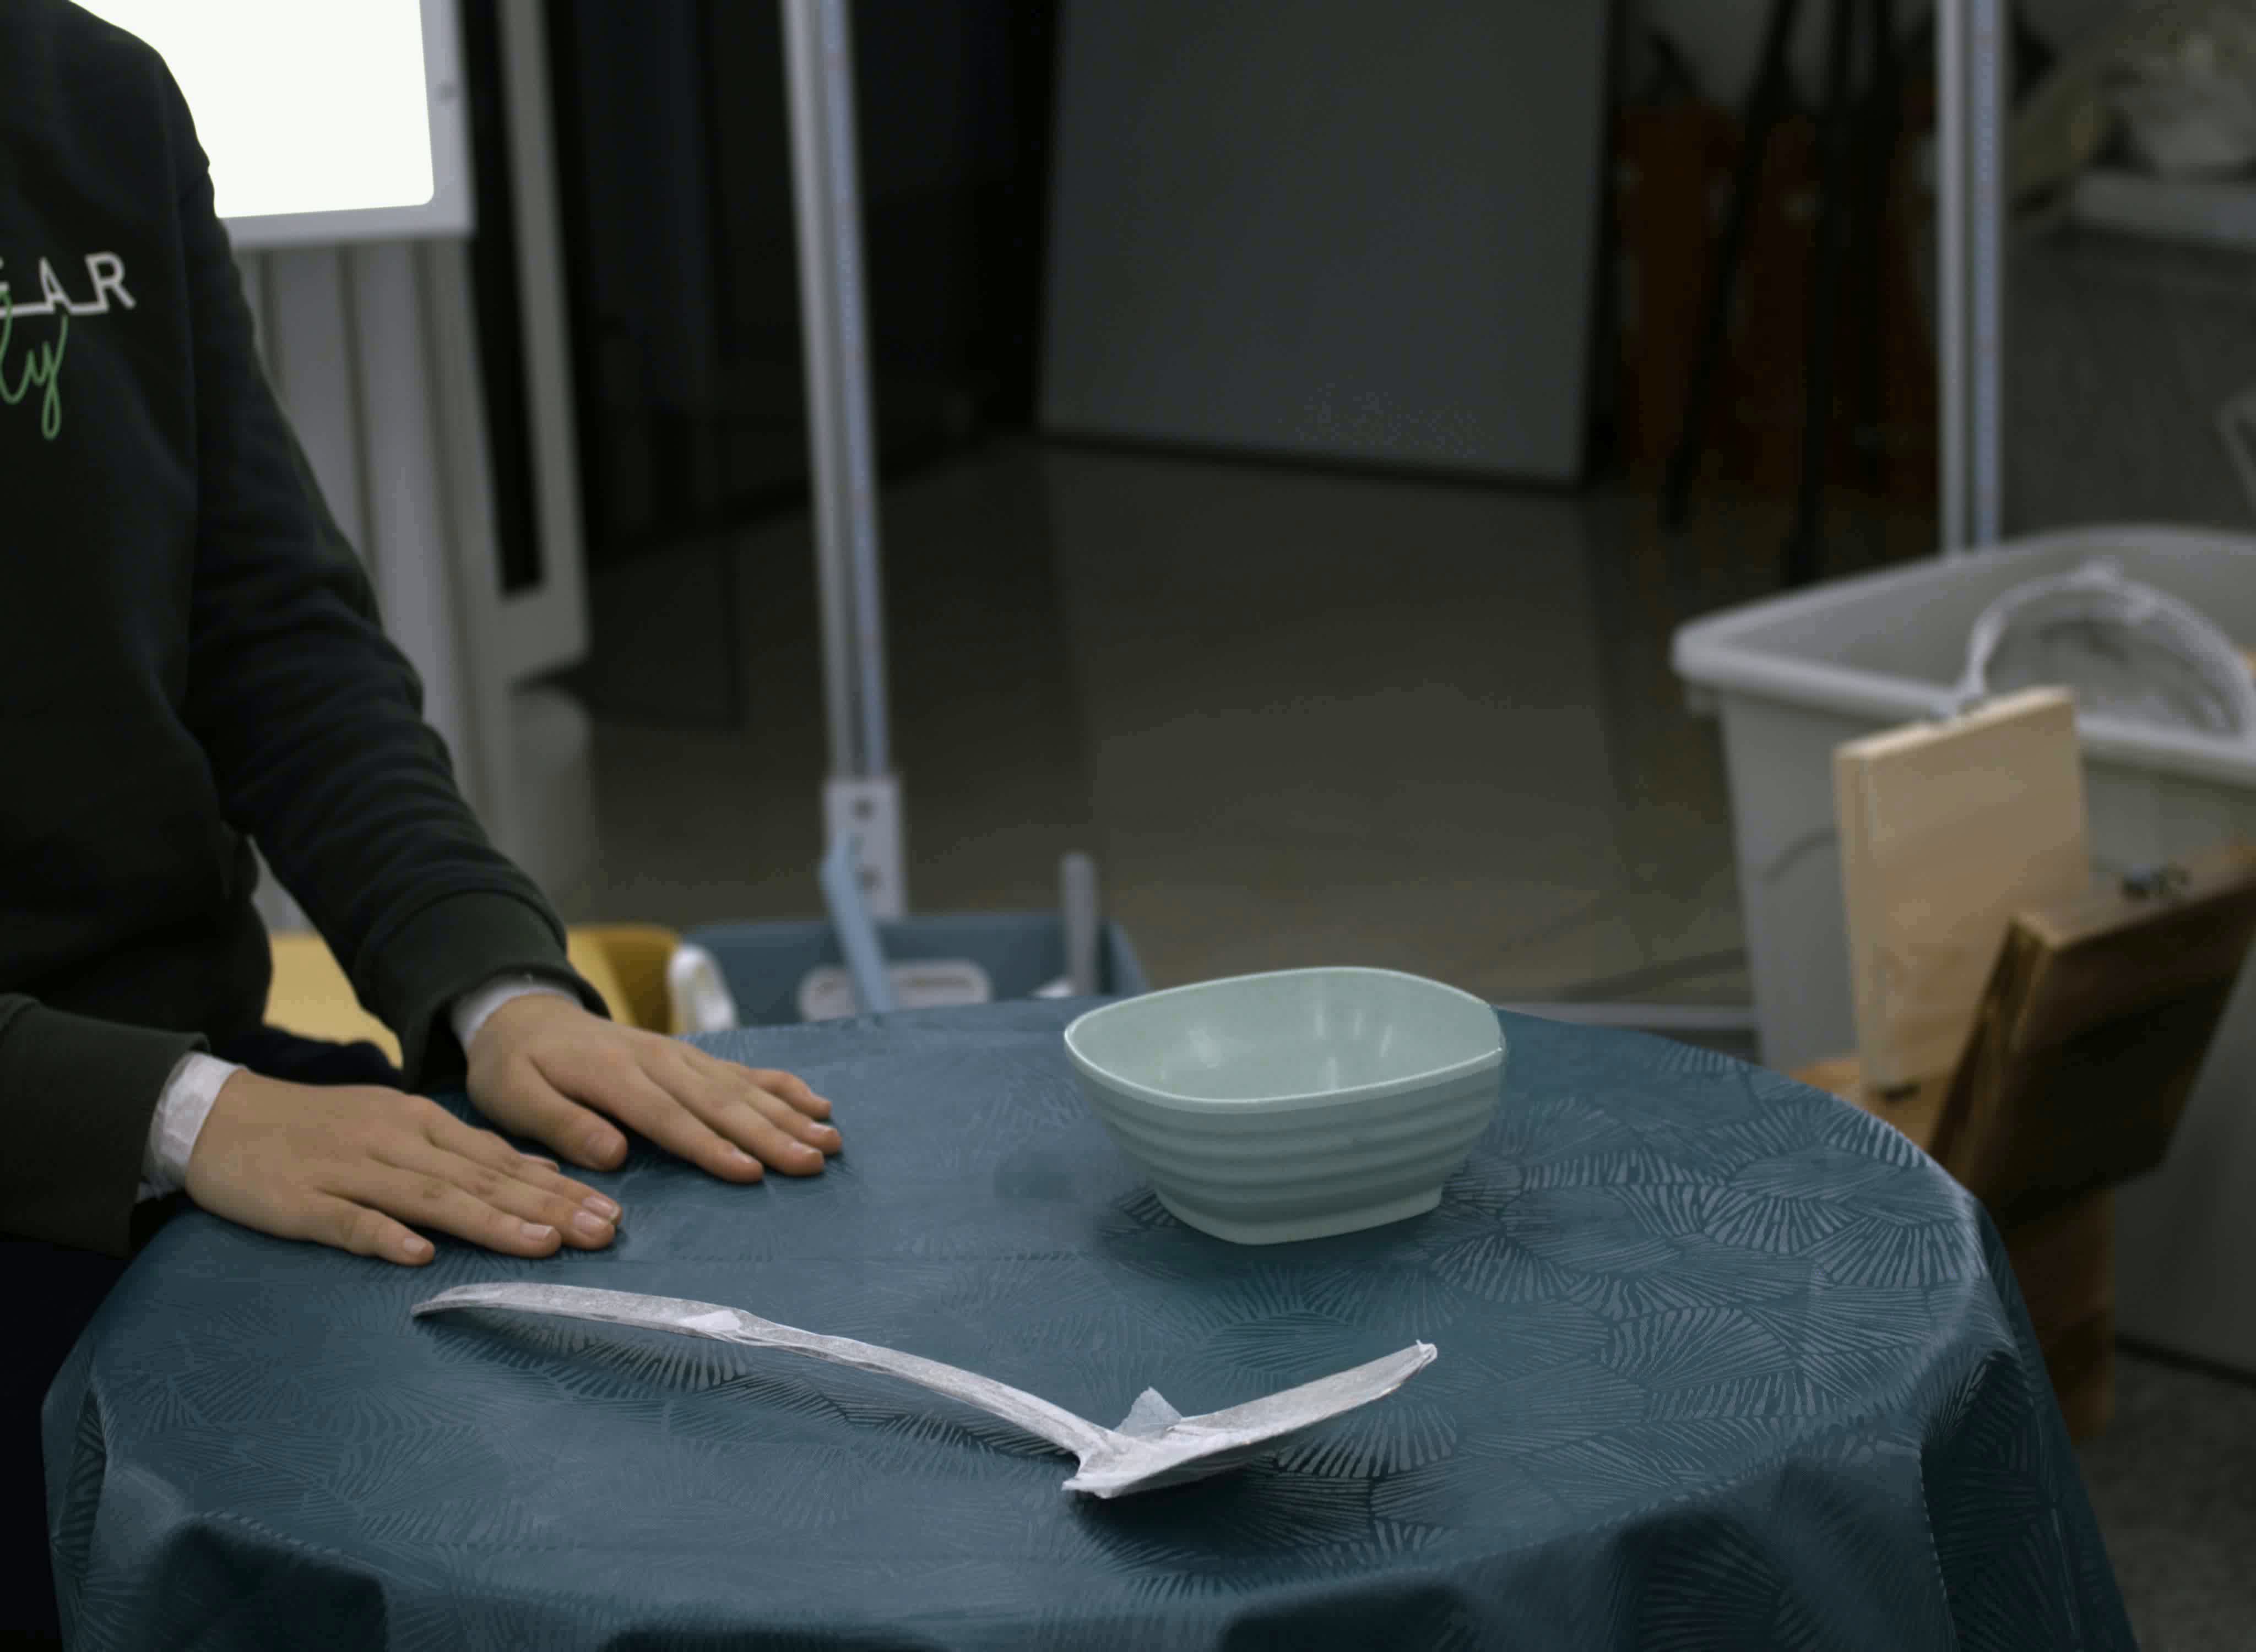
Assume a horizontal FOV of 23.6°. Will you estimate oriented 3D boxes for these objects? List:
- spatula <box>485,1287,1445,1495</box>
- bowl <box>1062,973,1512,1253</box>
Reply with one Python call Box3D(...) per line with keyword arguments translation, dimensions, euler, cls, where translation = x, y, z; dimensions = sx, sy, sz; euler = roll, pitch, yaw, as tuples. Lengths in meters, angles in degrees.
Box3D(translation=(-0.069, 0.153, 1.581), dimensions=(0.368, 0.045, 0.097), euler=(8, 20, 40), cls="spatula")
Box3D(translation=(0.052, 0.096, 1.746), dimensions=(0.149, 0.059, 0.152), euler=(-2, 14, 0), cls="bowl")
